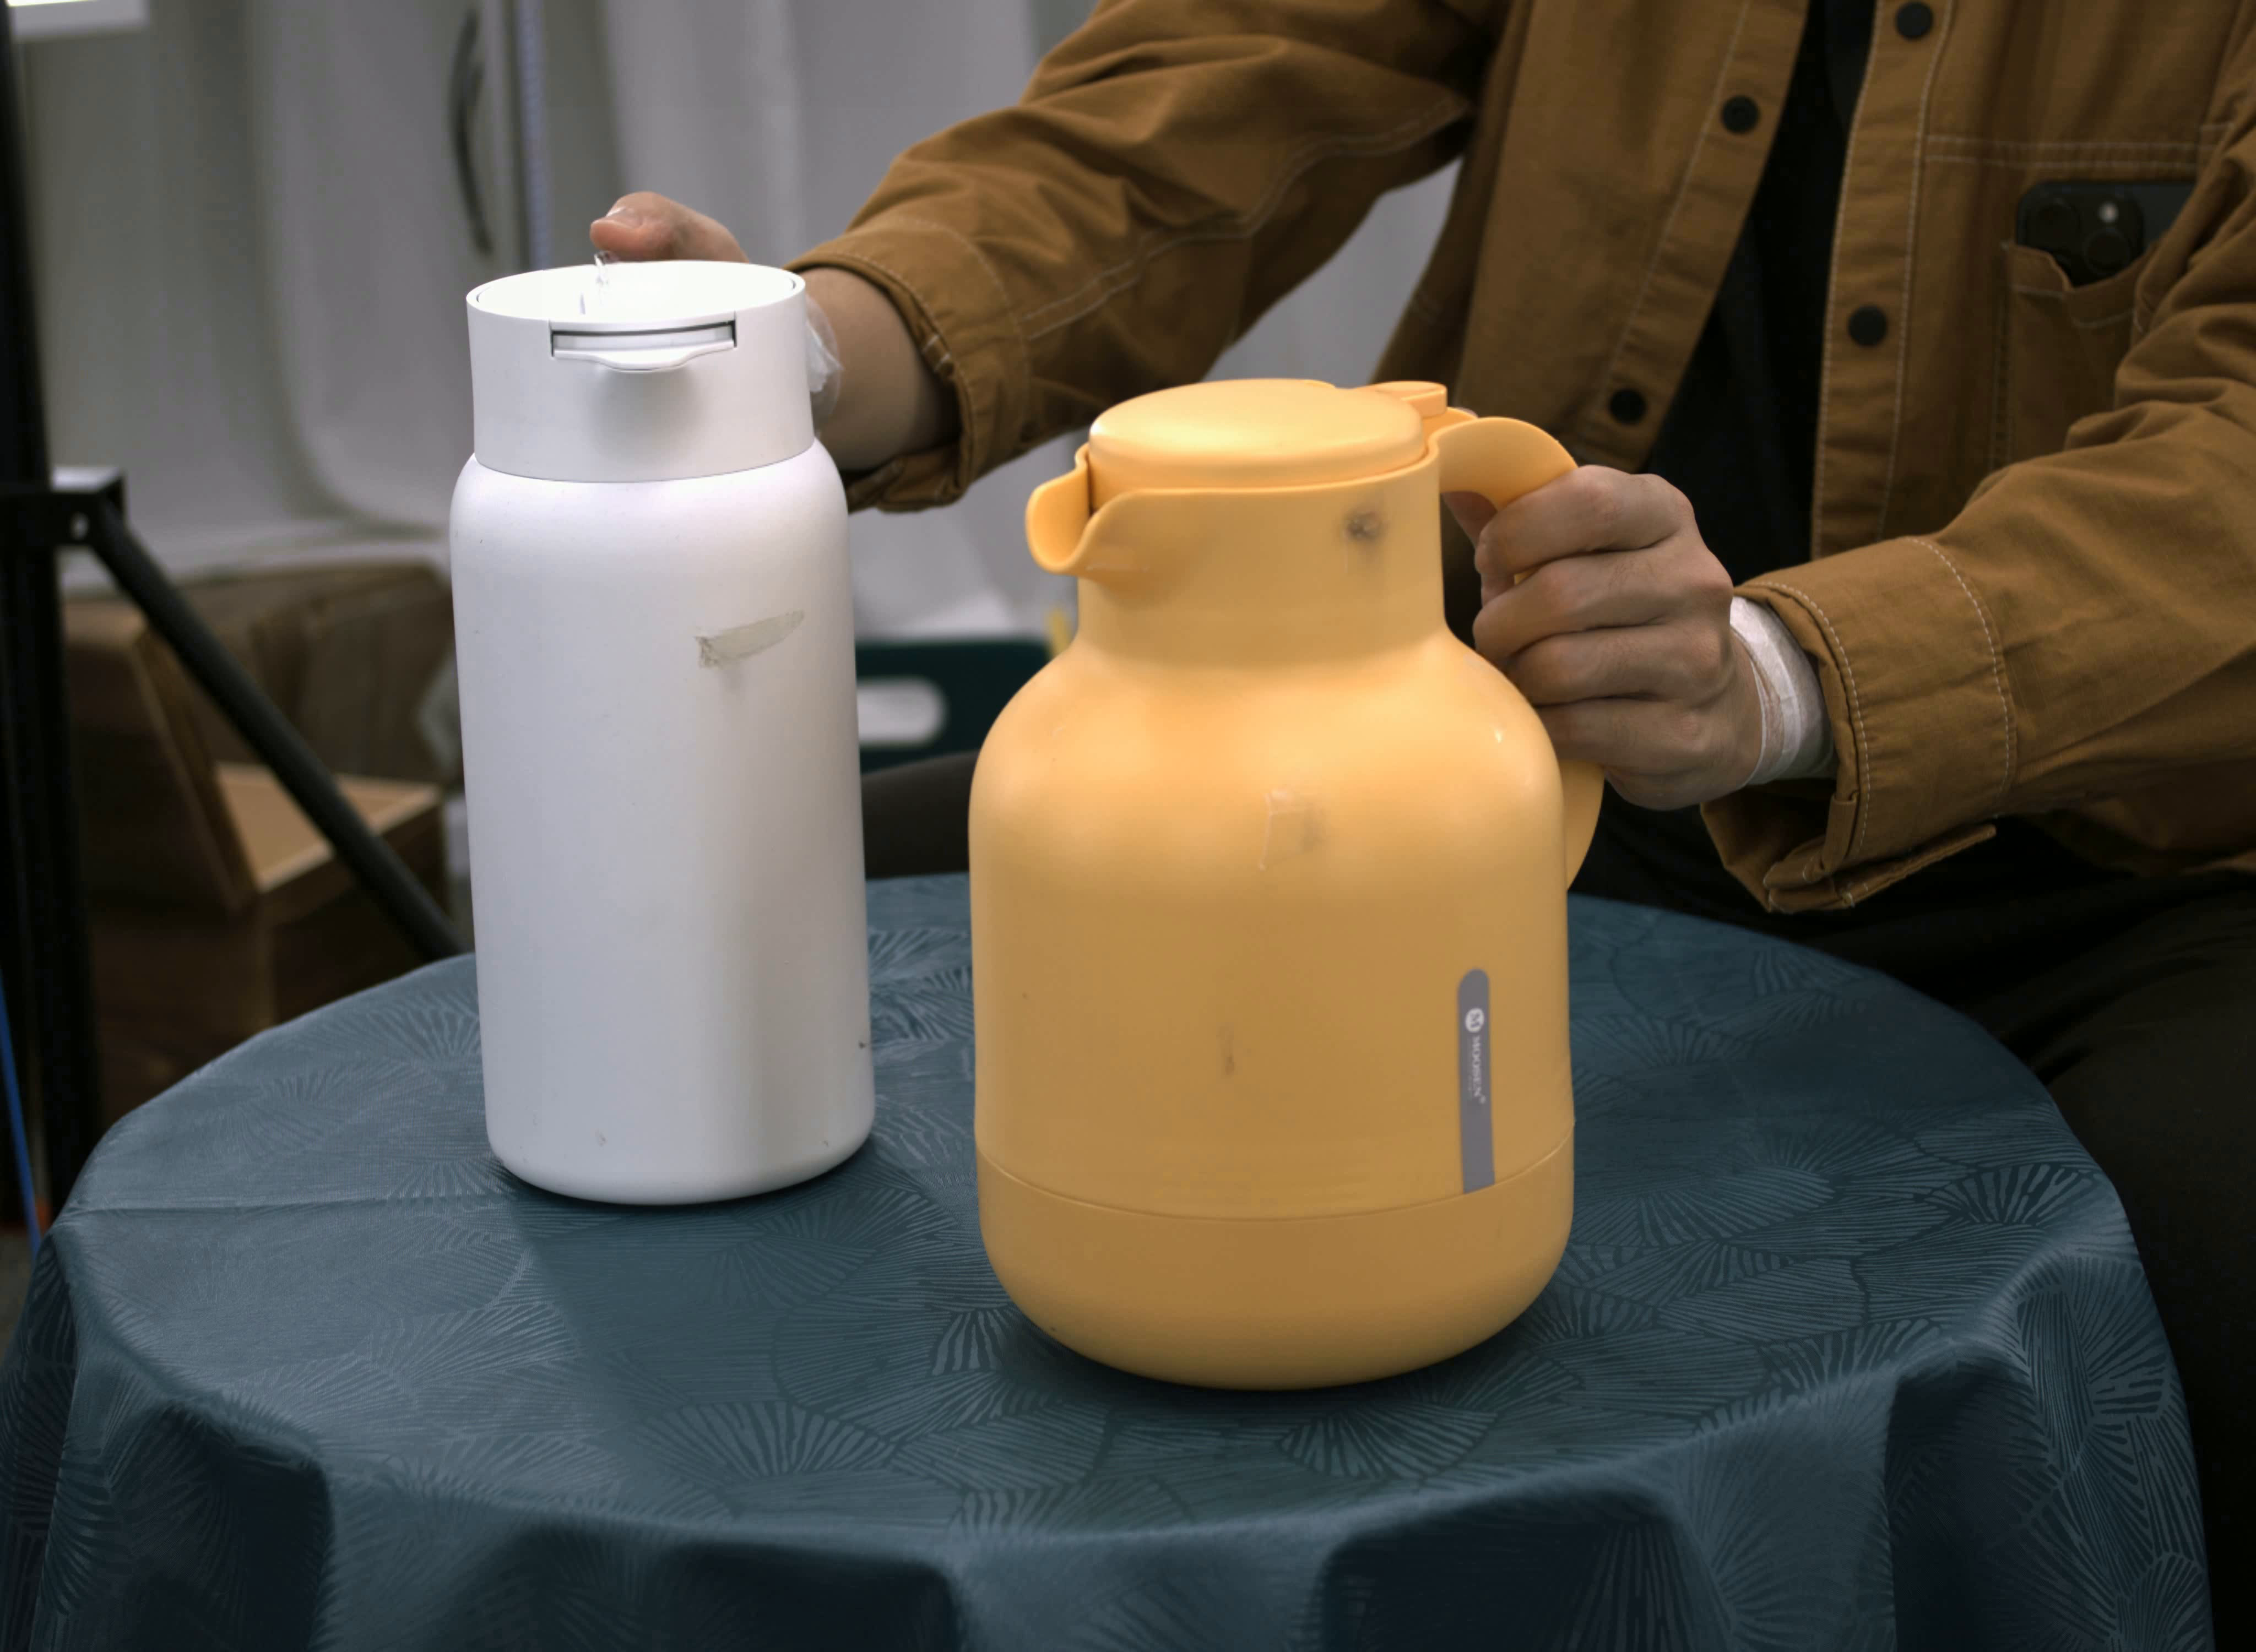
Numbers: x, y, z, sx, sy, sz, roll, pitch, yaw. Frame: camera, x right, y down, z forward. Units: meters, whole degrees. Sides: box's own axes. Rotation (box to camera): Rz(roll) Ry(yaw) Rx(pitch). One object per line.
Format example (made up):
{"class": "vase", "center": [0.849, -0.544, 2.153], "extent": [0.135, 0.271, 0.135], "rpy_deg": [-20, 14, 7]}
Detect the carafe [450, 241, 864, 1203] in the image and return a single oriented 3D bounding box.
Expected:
{"class": "carafe", "center": [-0.143, -0.035, 1.594], "extent": [0.122, 0.269, 0.174], "rpy_deg": [-5, 16, -7]}

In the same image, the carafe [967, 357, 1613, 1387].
{"class": "carafe", "center": [0.053, 0.005, 1.428], "extent": [0.198, 0.260, 0.167], "rpy_deg": [-15, 23, -36]}
